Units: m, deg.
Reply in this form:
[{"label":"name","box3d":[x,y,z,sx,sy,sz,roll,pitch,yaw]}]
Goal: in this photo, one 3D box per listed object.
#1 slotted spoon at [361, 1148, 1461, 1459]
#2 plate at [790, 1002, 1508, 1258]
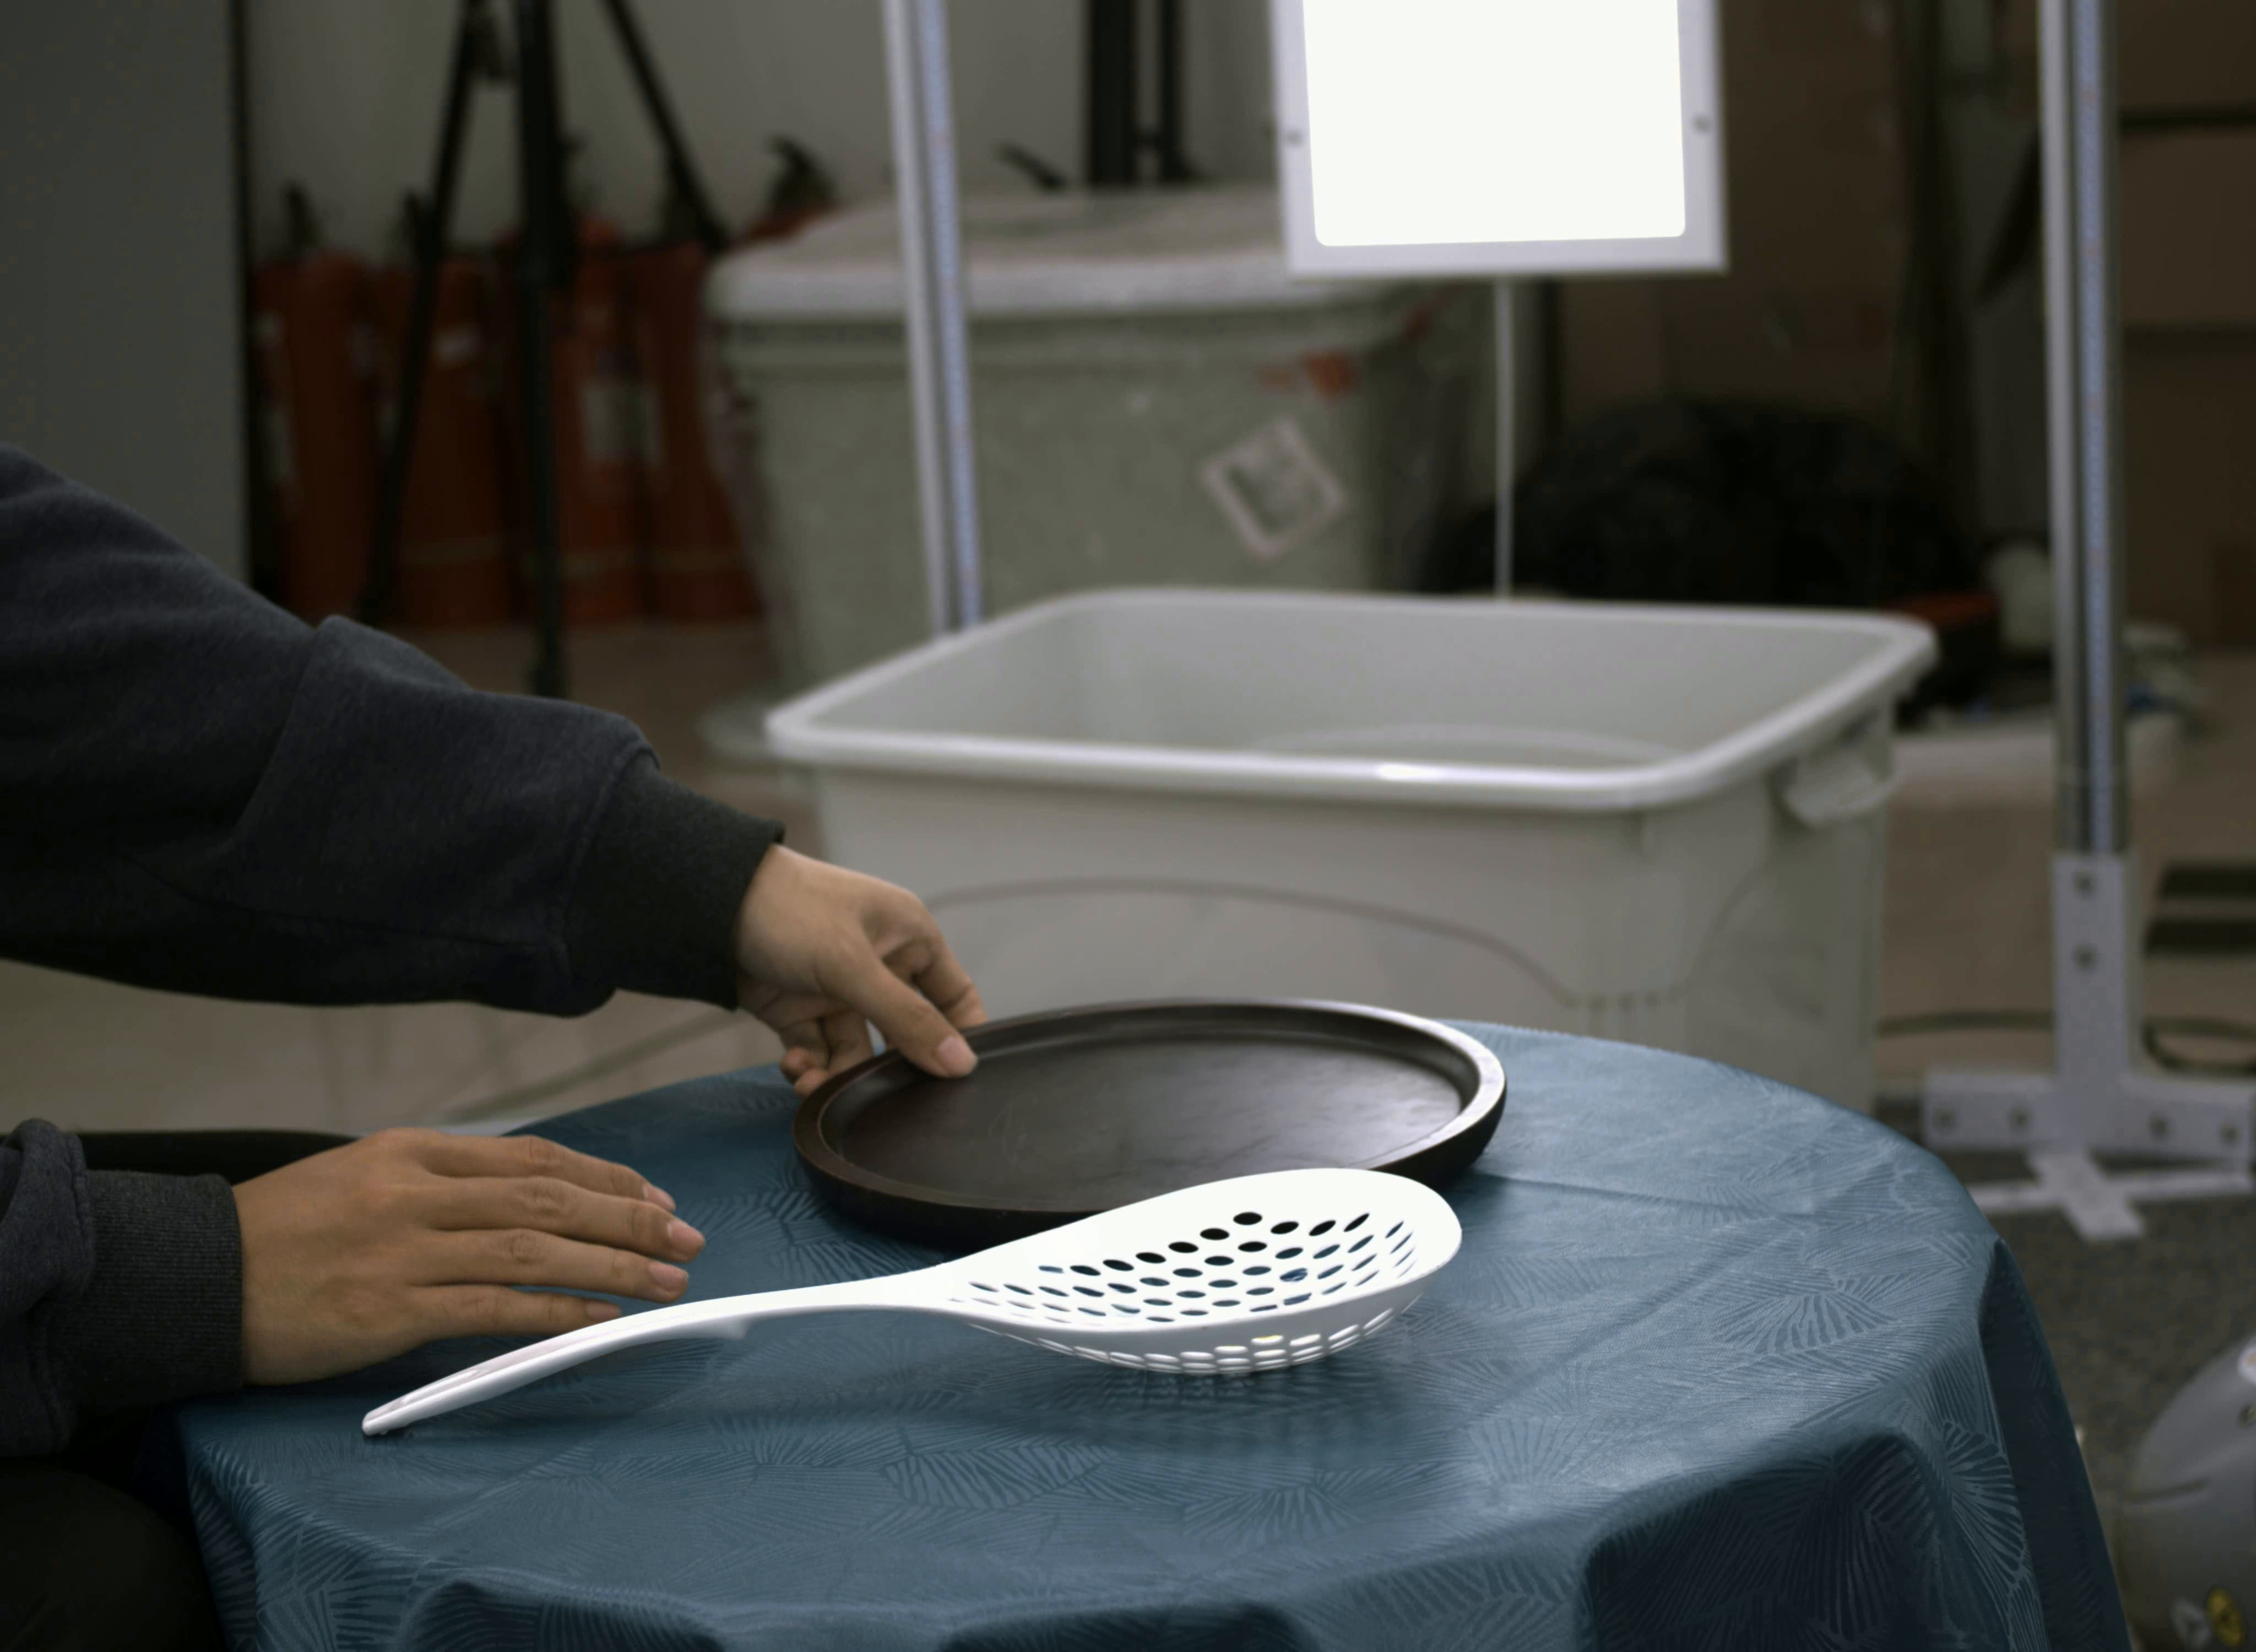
[{"label":"slotted spoon","box3d":[-0.068,0.155,1.718,0.347,0.050,0.136,-5,16,0]},{"label":"plate","box3d":[0.008,0.105,1.932,0.254,0.029,0.254,-5,15,0]}]
